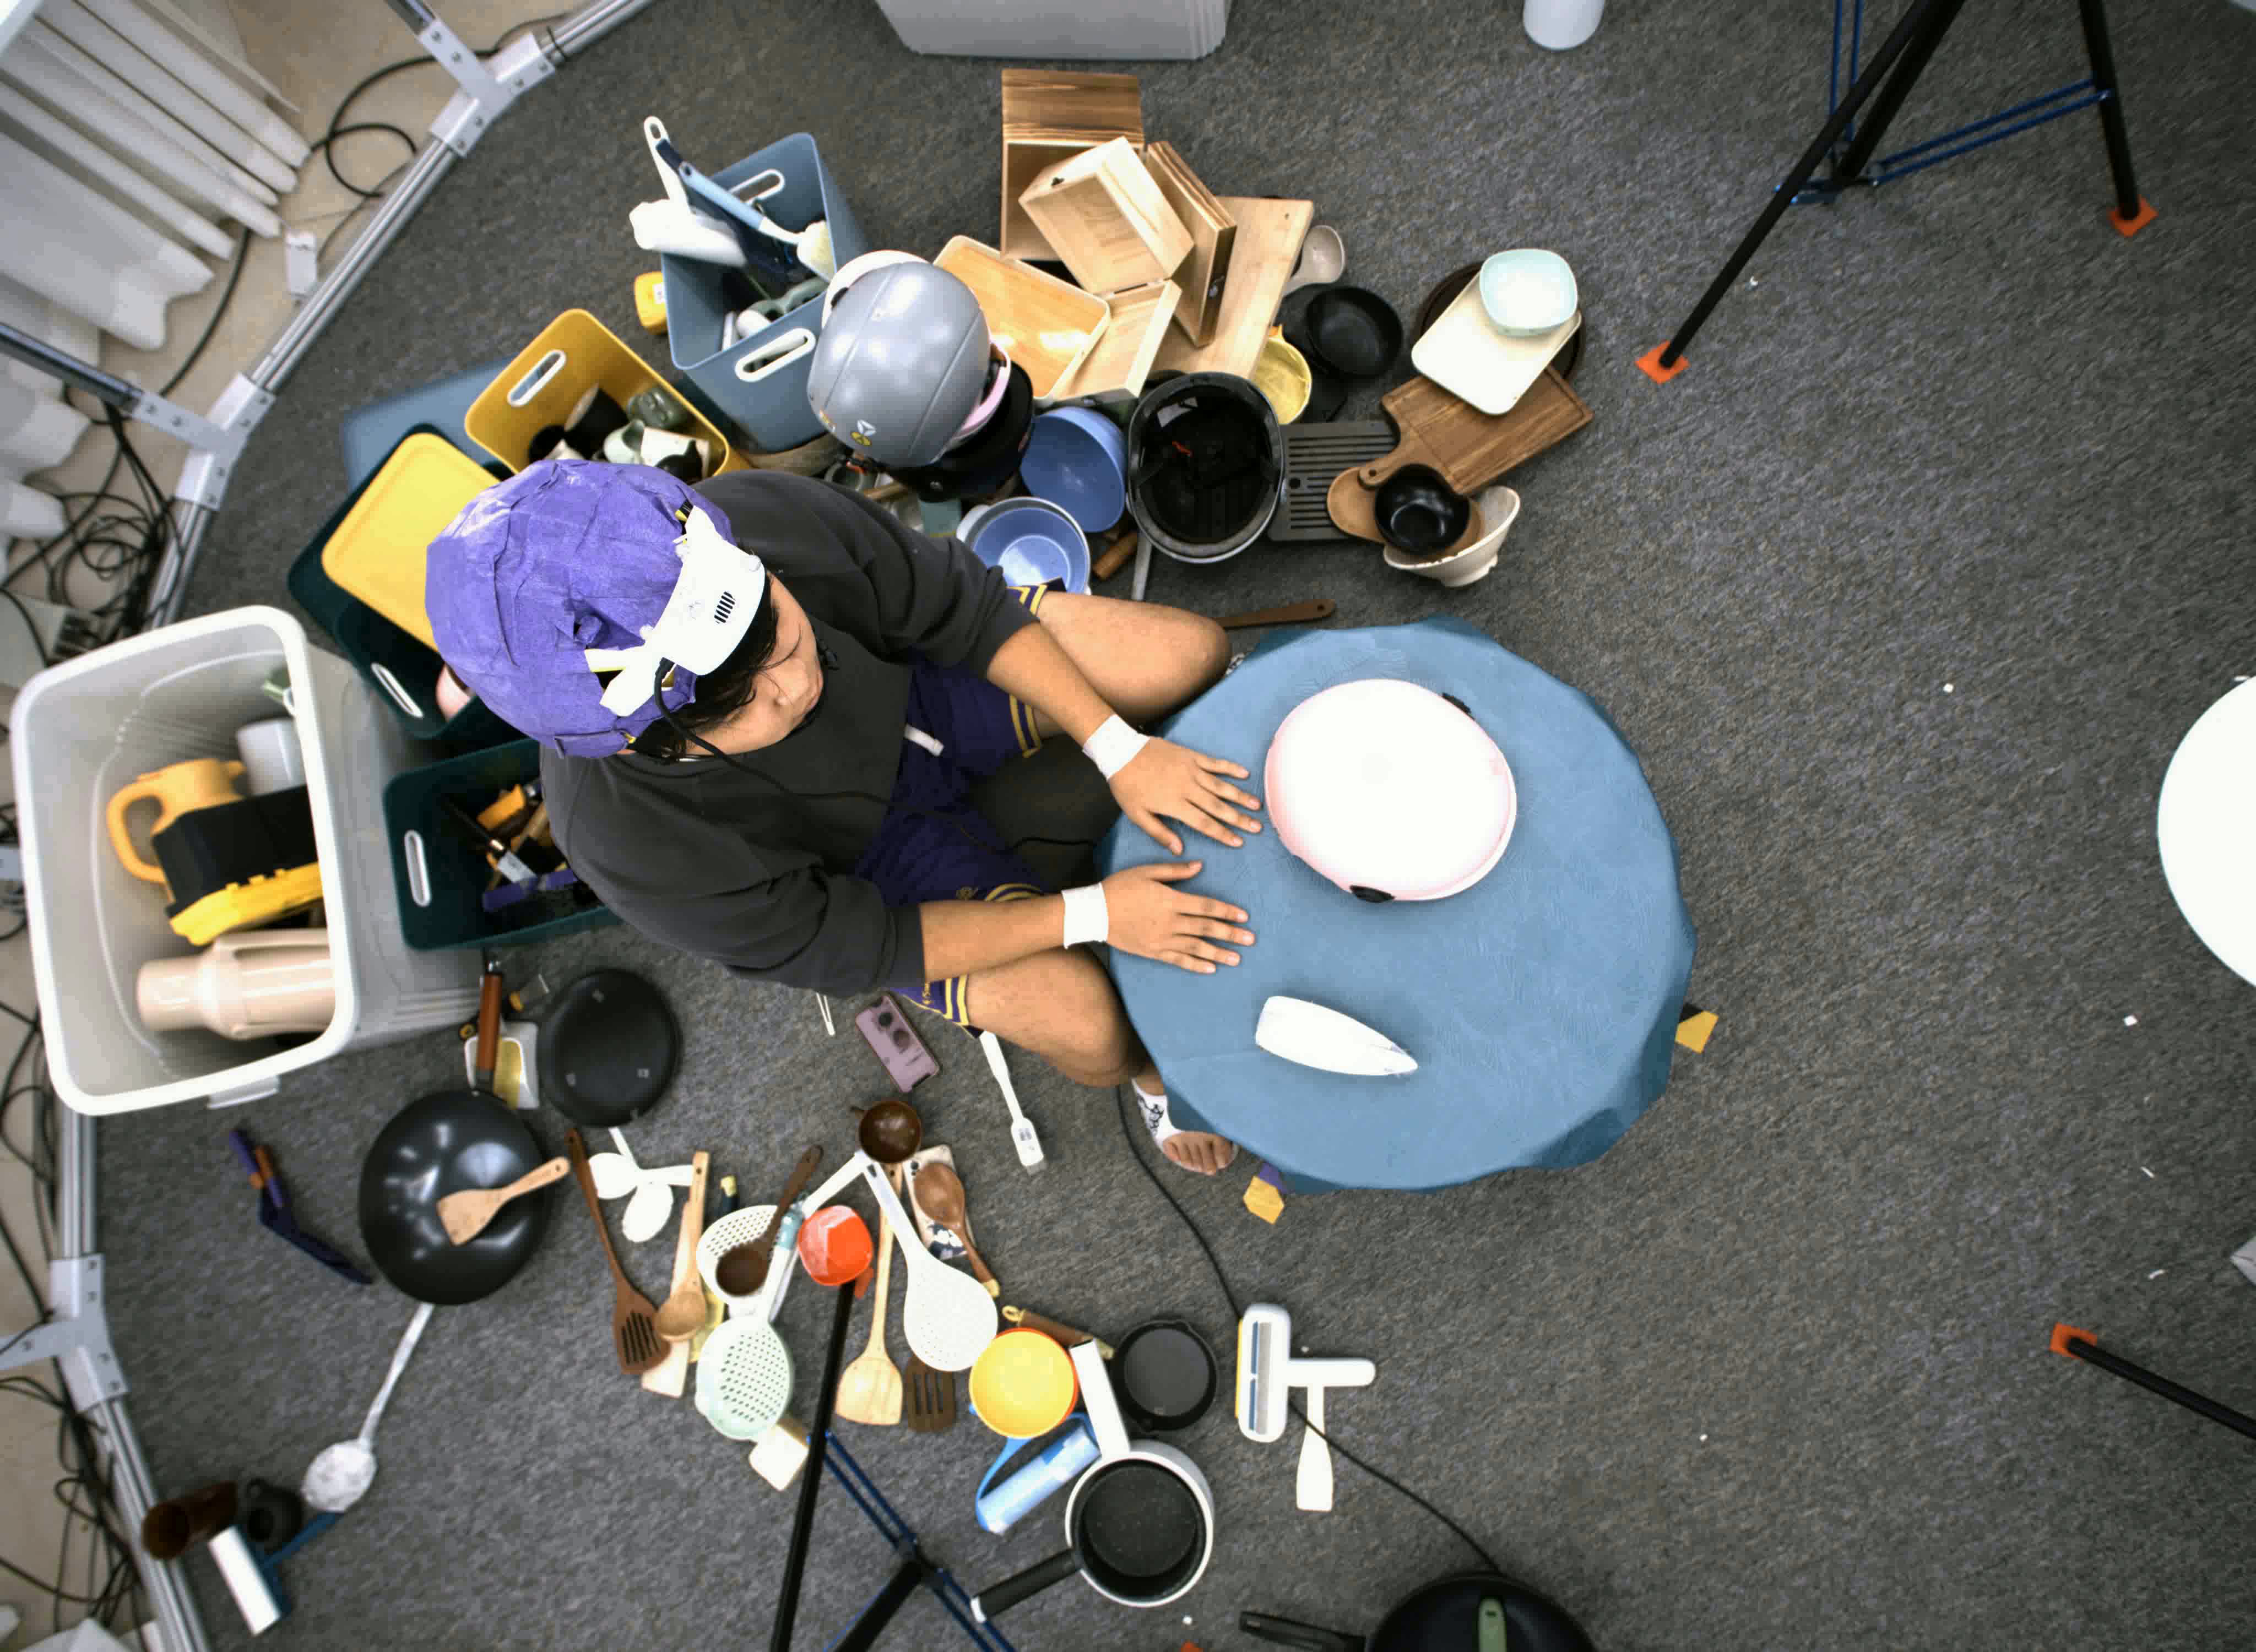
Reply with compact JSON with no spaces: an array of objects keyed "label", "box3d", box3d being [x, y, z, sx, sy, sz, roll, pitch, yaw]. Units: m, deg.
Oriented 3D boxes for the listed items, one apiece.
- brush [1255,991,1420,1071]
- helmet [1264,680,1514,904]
[{"label":"brush","box3d":[0.215,0.218,1.415,0.175,0.094,0.061,17,89,9]},{"label":"helmet","box3d":[0.268,-0.042,1.390,0.266,0.159,0.234,24,90,7]}]
